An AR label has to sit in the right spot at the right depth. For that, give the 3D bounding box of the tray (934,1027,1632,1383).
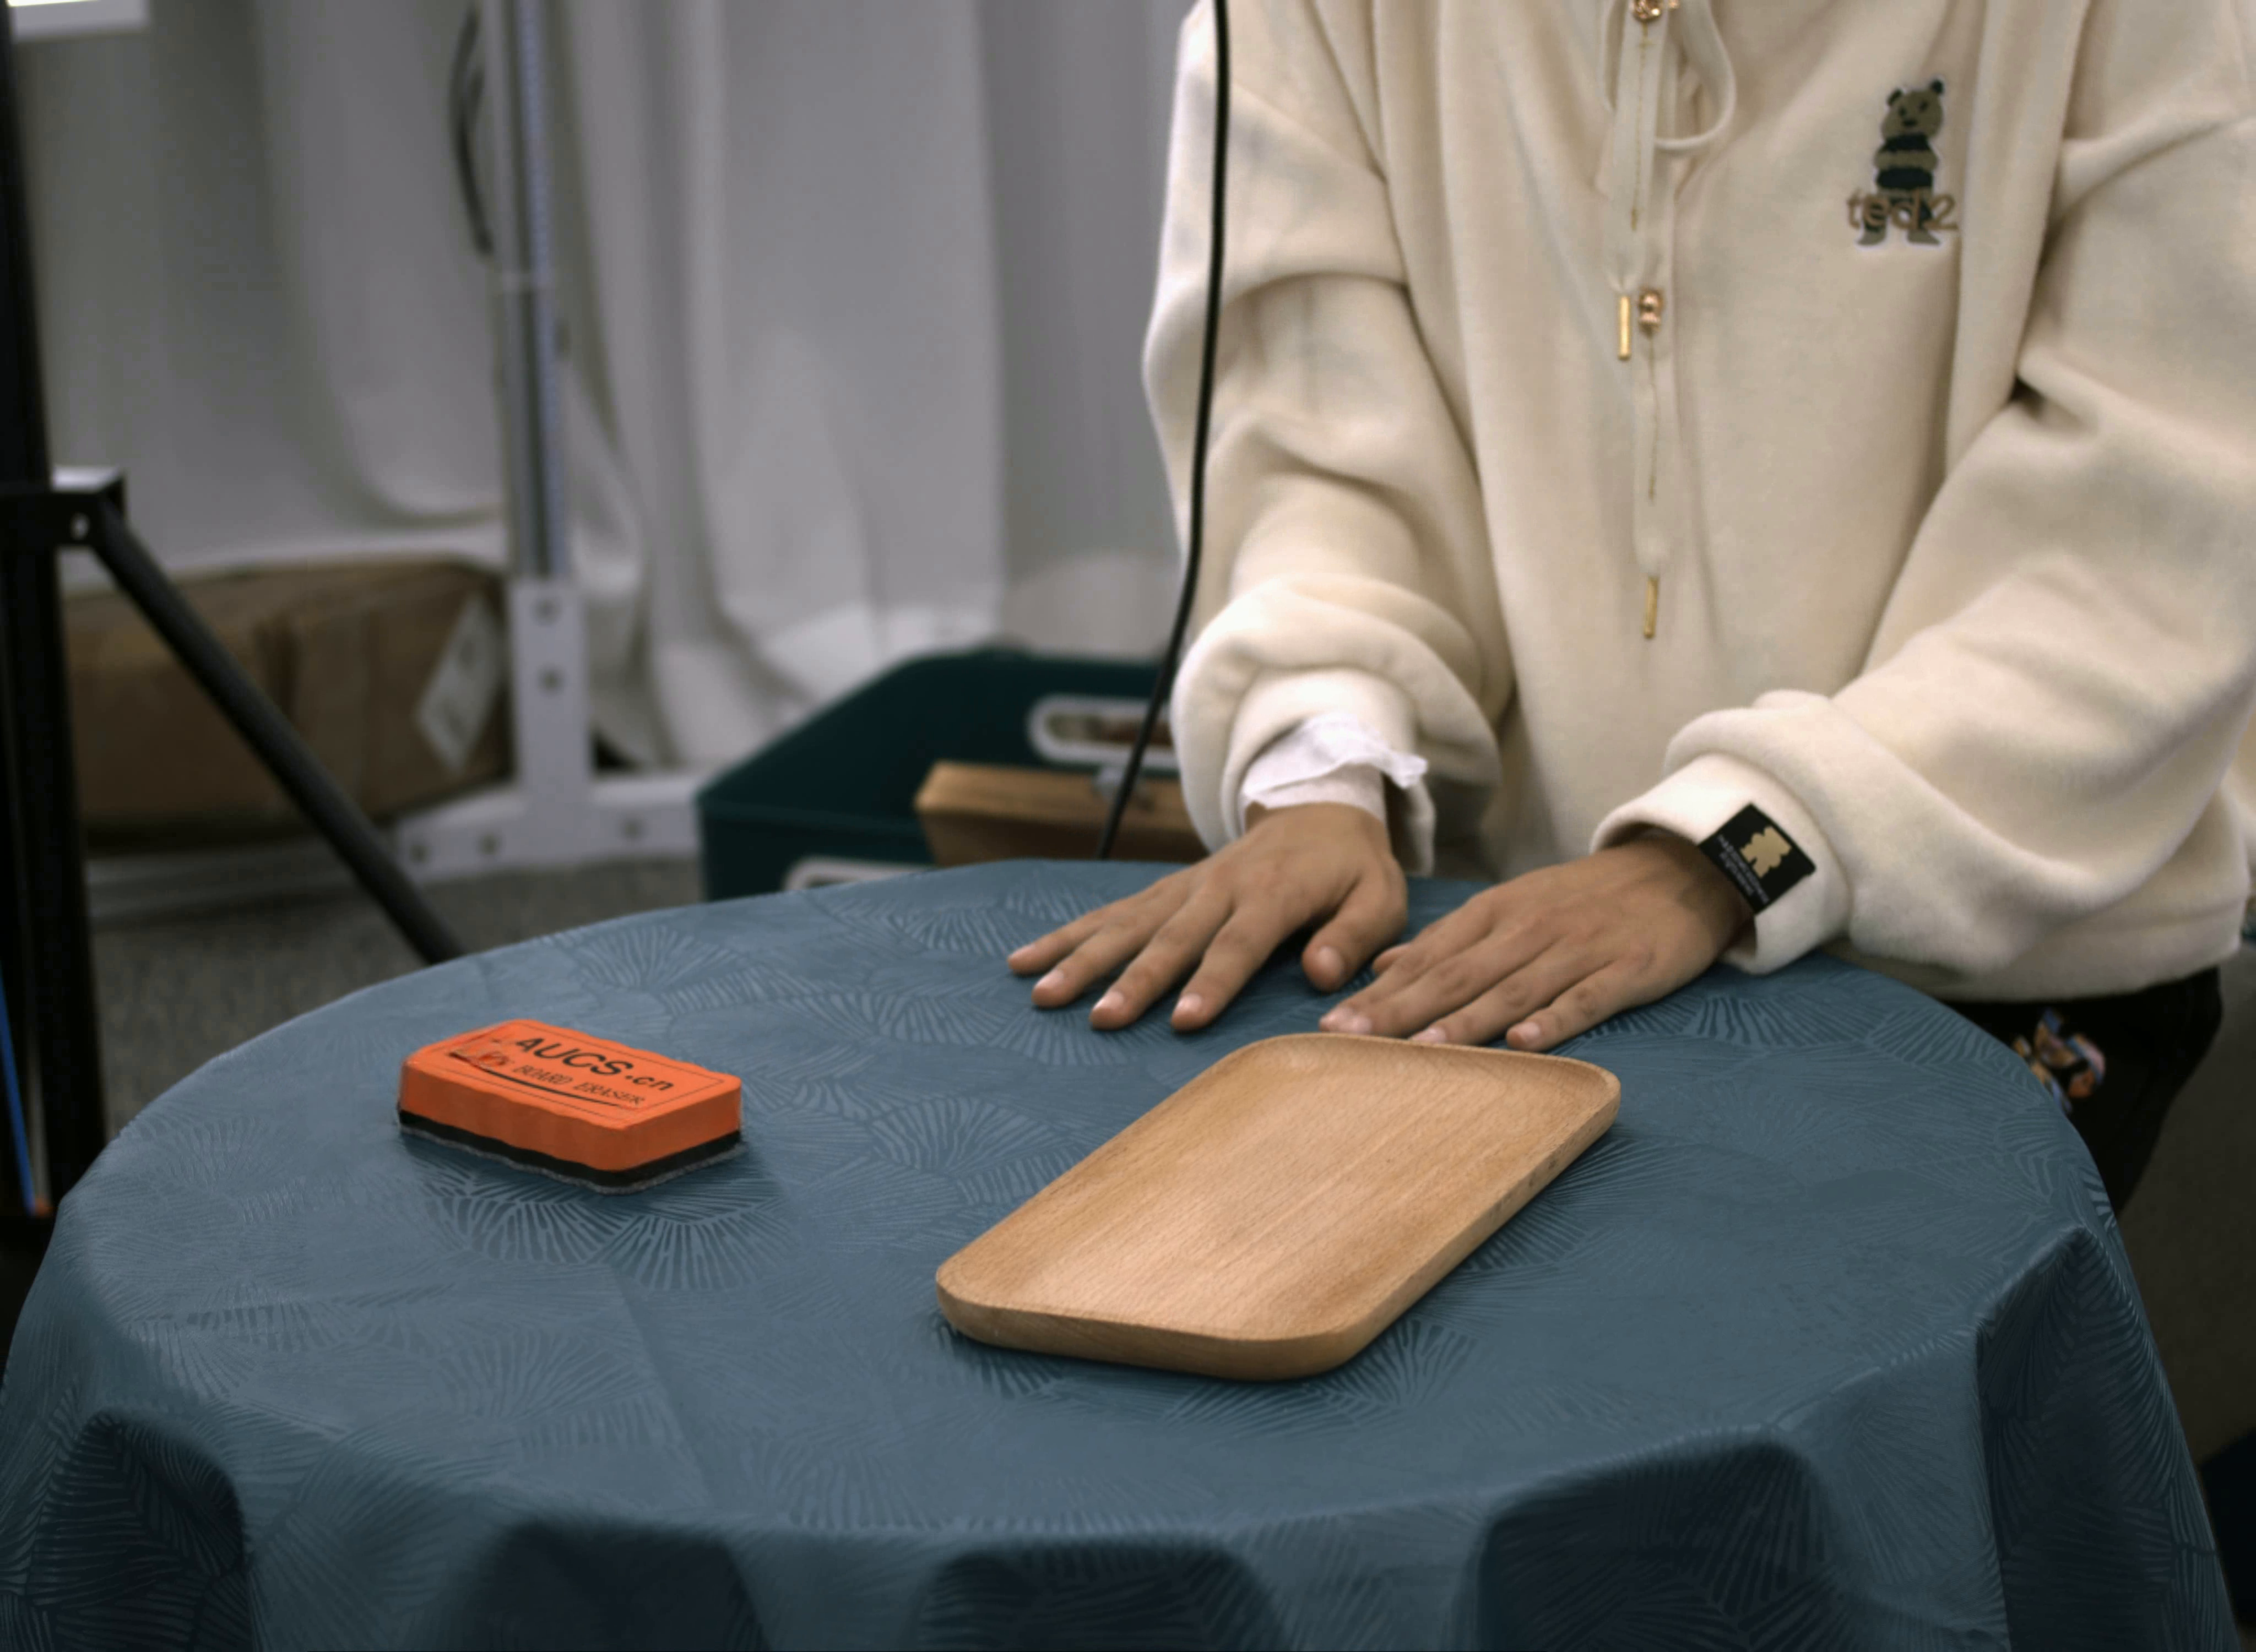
[{"bbox_3d":[0.049,0.106,1.523,0.132,0.023,0.246,8,19,26],"label":"tray"}]

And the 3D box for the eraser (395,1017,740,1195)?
[{"bbox_3d":[-0.171,0.085,1.625,0.110,0.023,0.057,13,23,43],"label":"eraser"}]
